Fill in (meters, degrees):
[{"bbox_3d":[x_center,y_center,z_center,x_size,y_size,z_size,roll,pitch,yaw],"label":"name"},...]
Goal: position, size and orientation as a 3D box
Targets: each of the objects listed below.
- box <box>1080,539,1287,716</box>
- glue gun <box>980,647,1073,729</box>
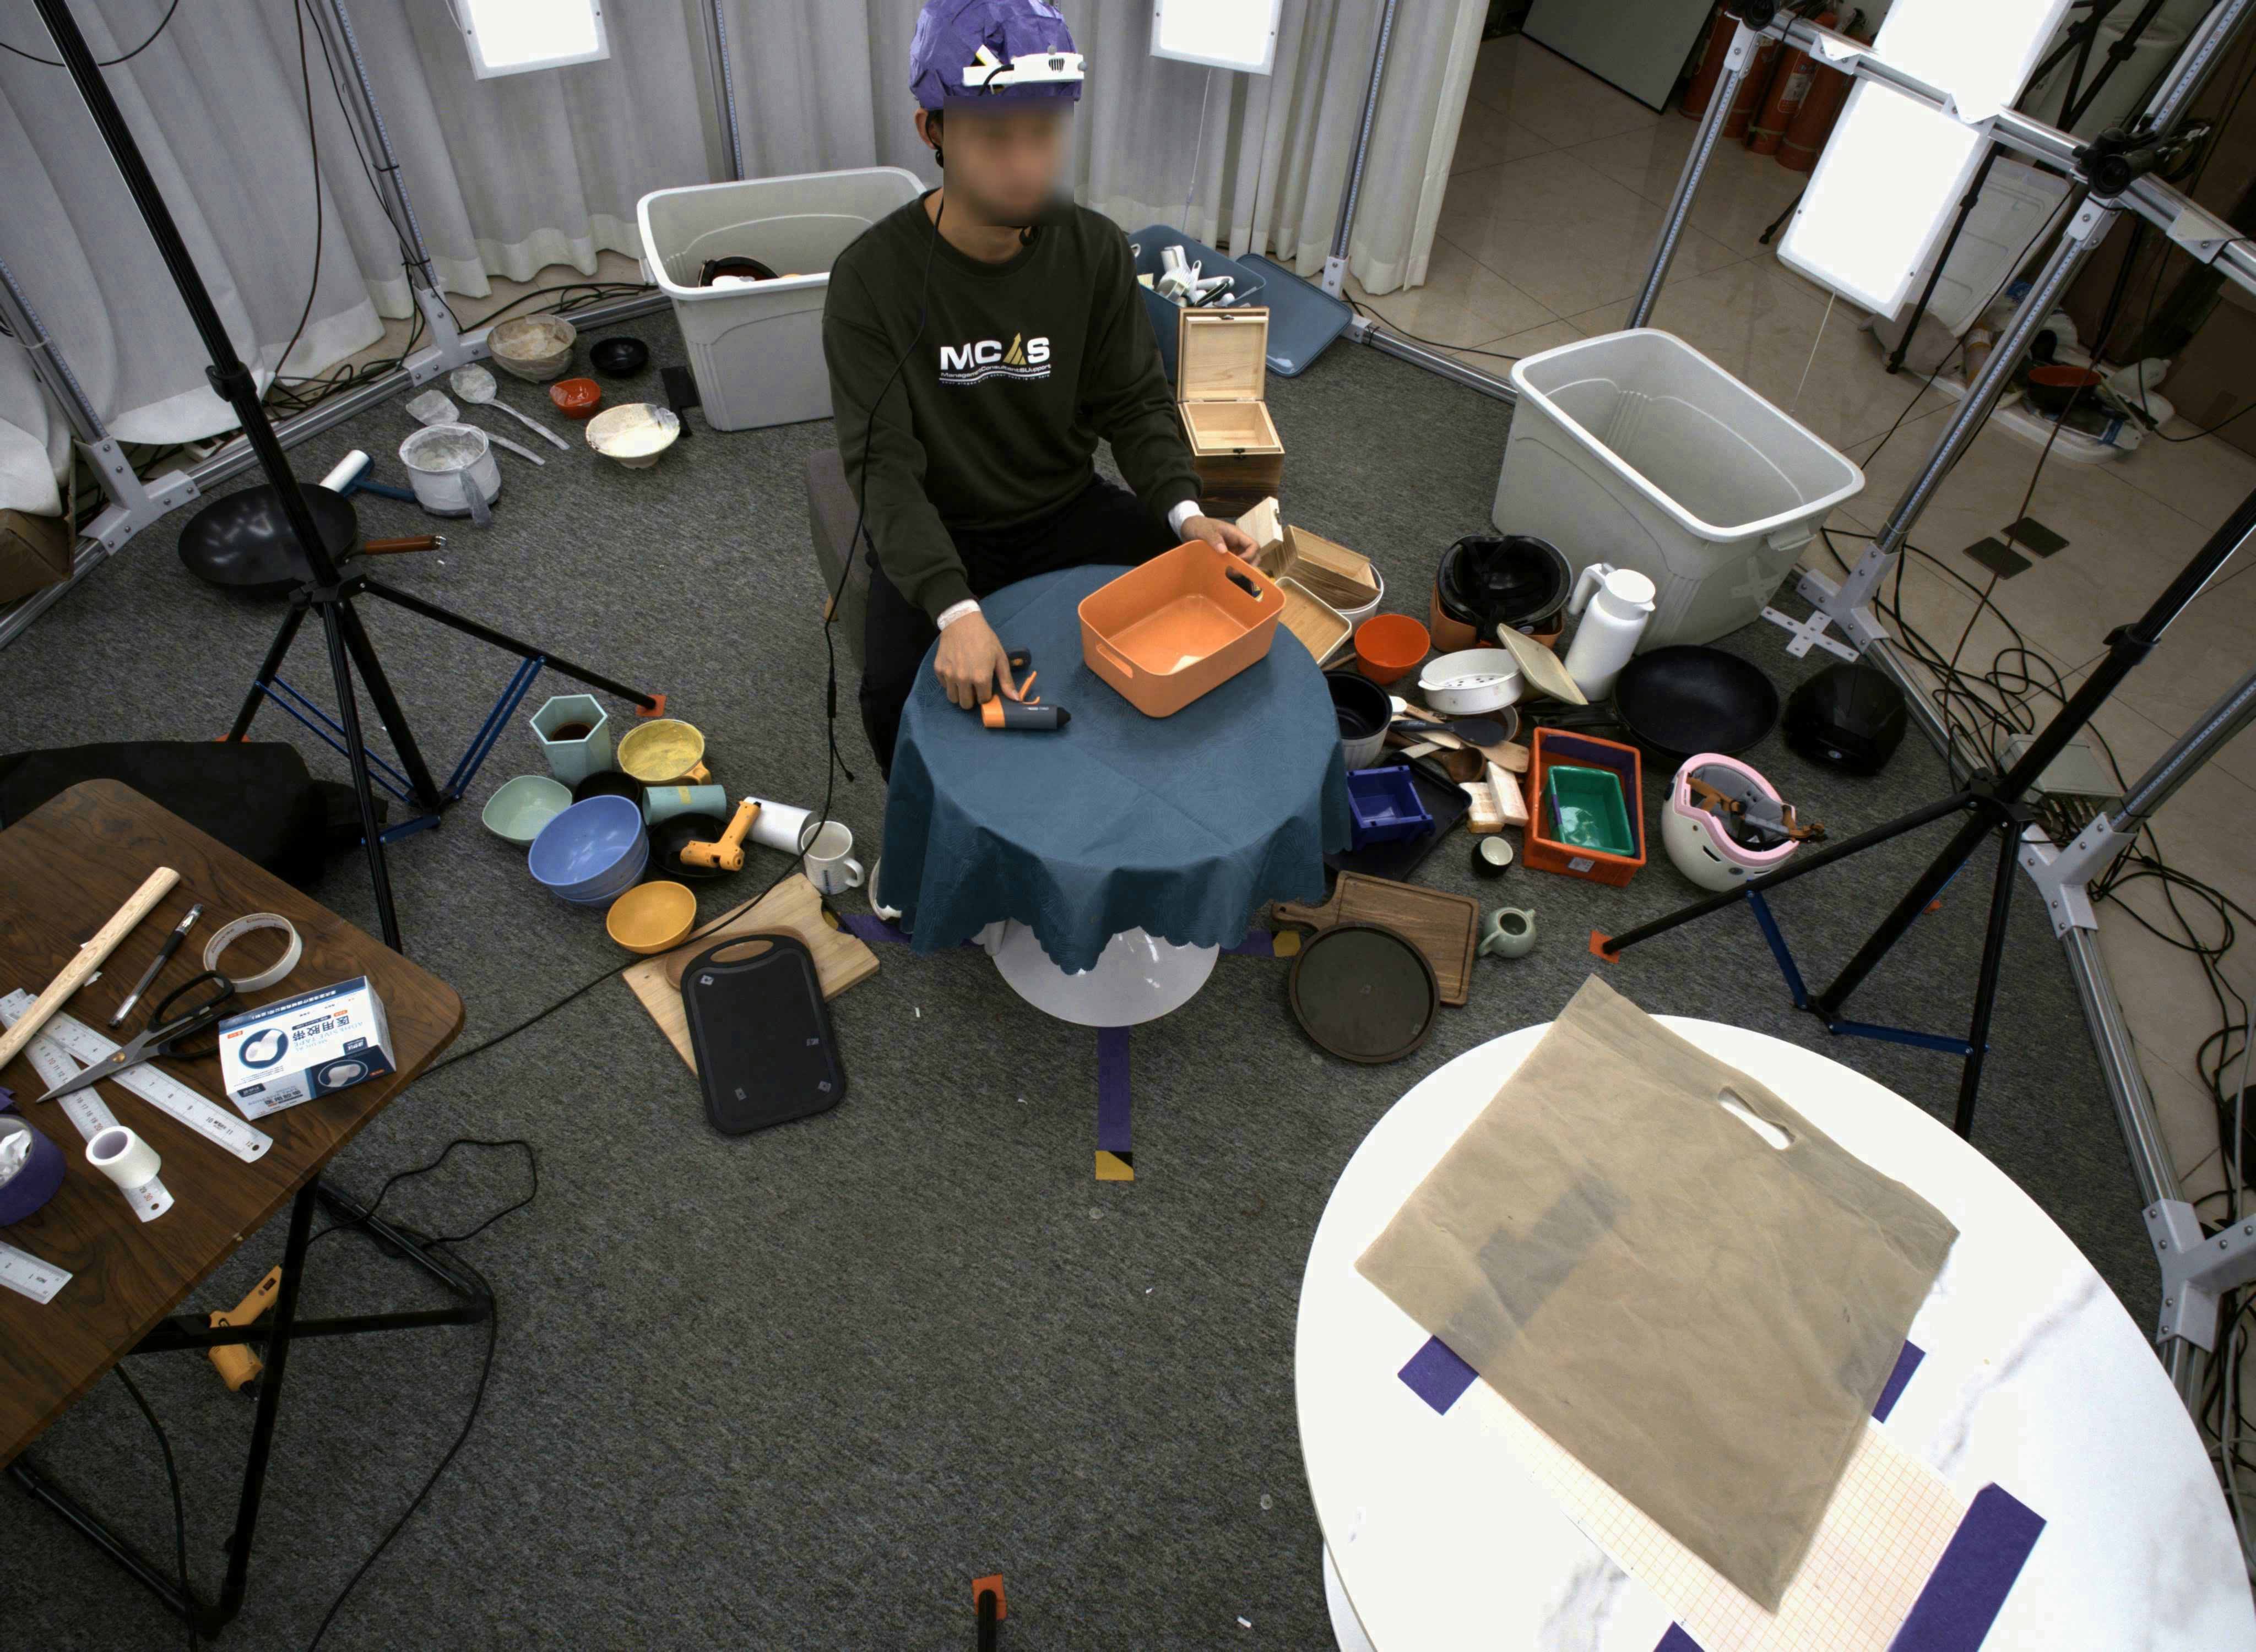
[{"bbox_3d":[0.076,-0.283,1.845,0.275,0.100,0.202,-34,59,-28],"label":"box"},{"bbox_3d":[-0.149,-0.185,1.789,0.118,0.040,0.143,-12,53,-12],"label":"glue gun"}]
